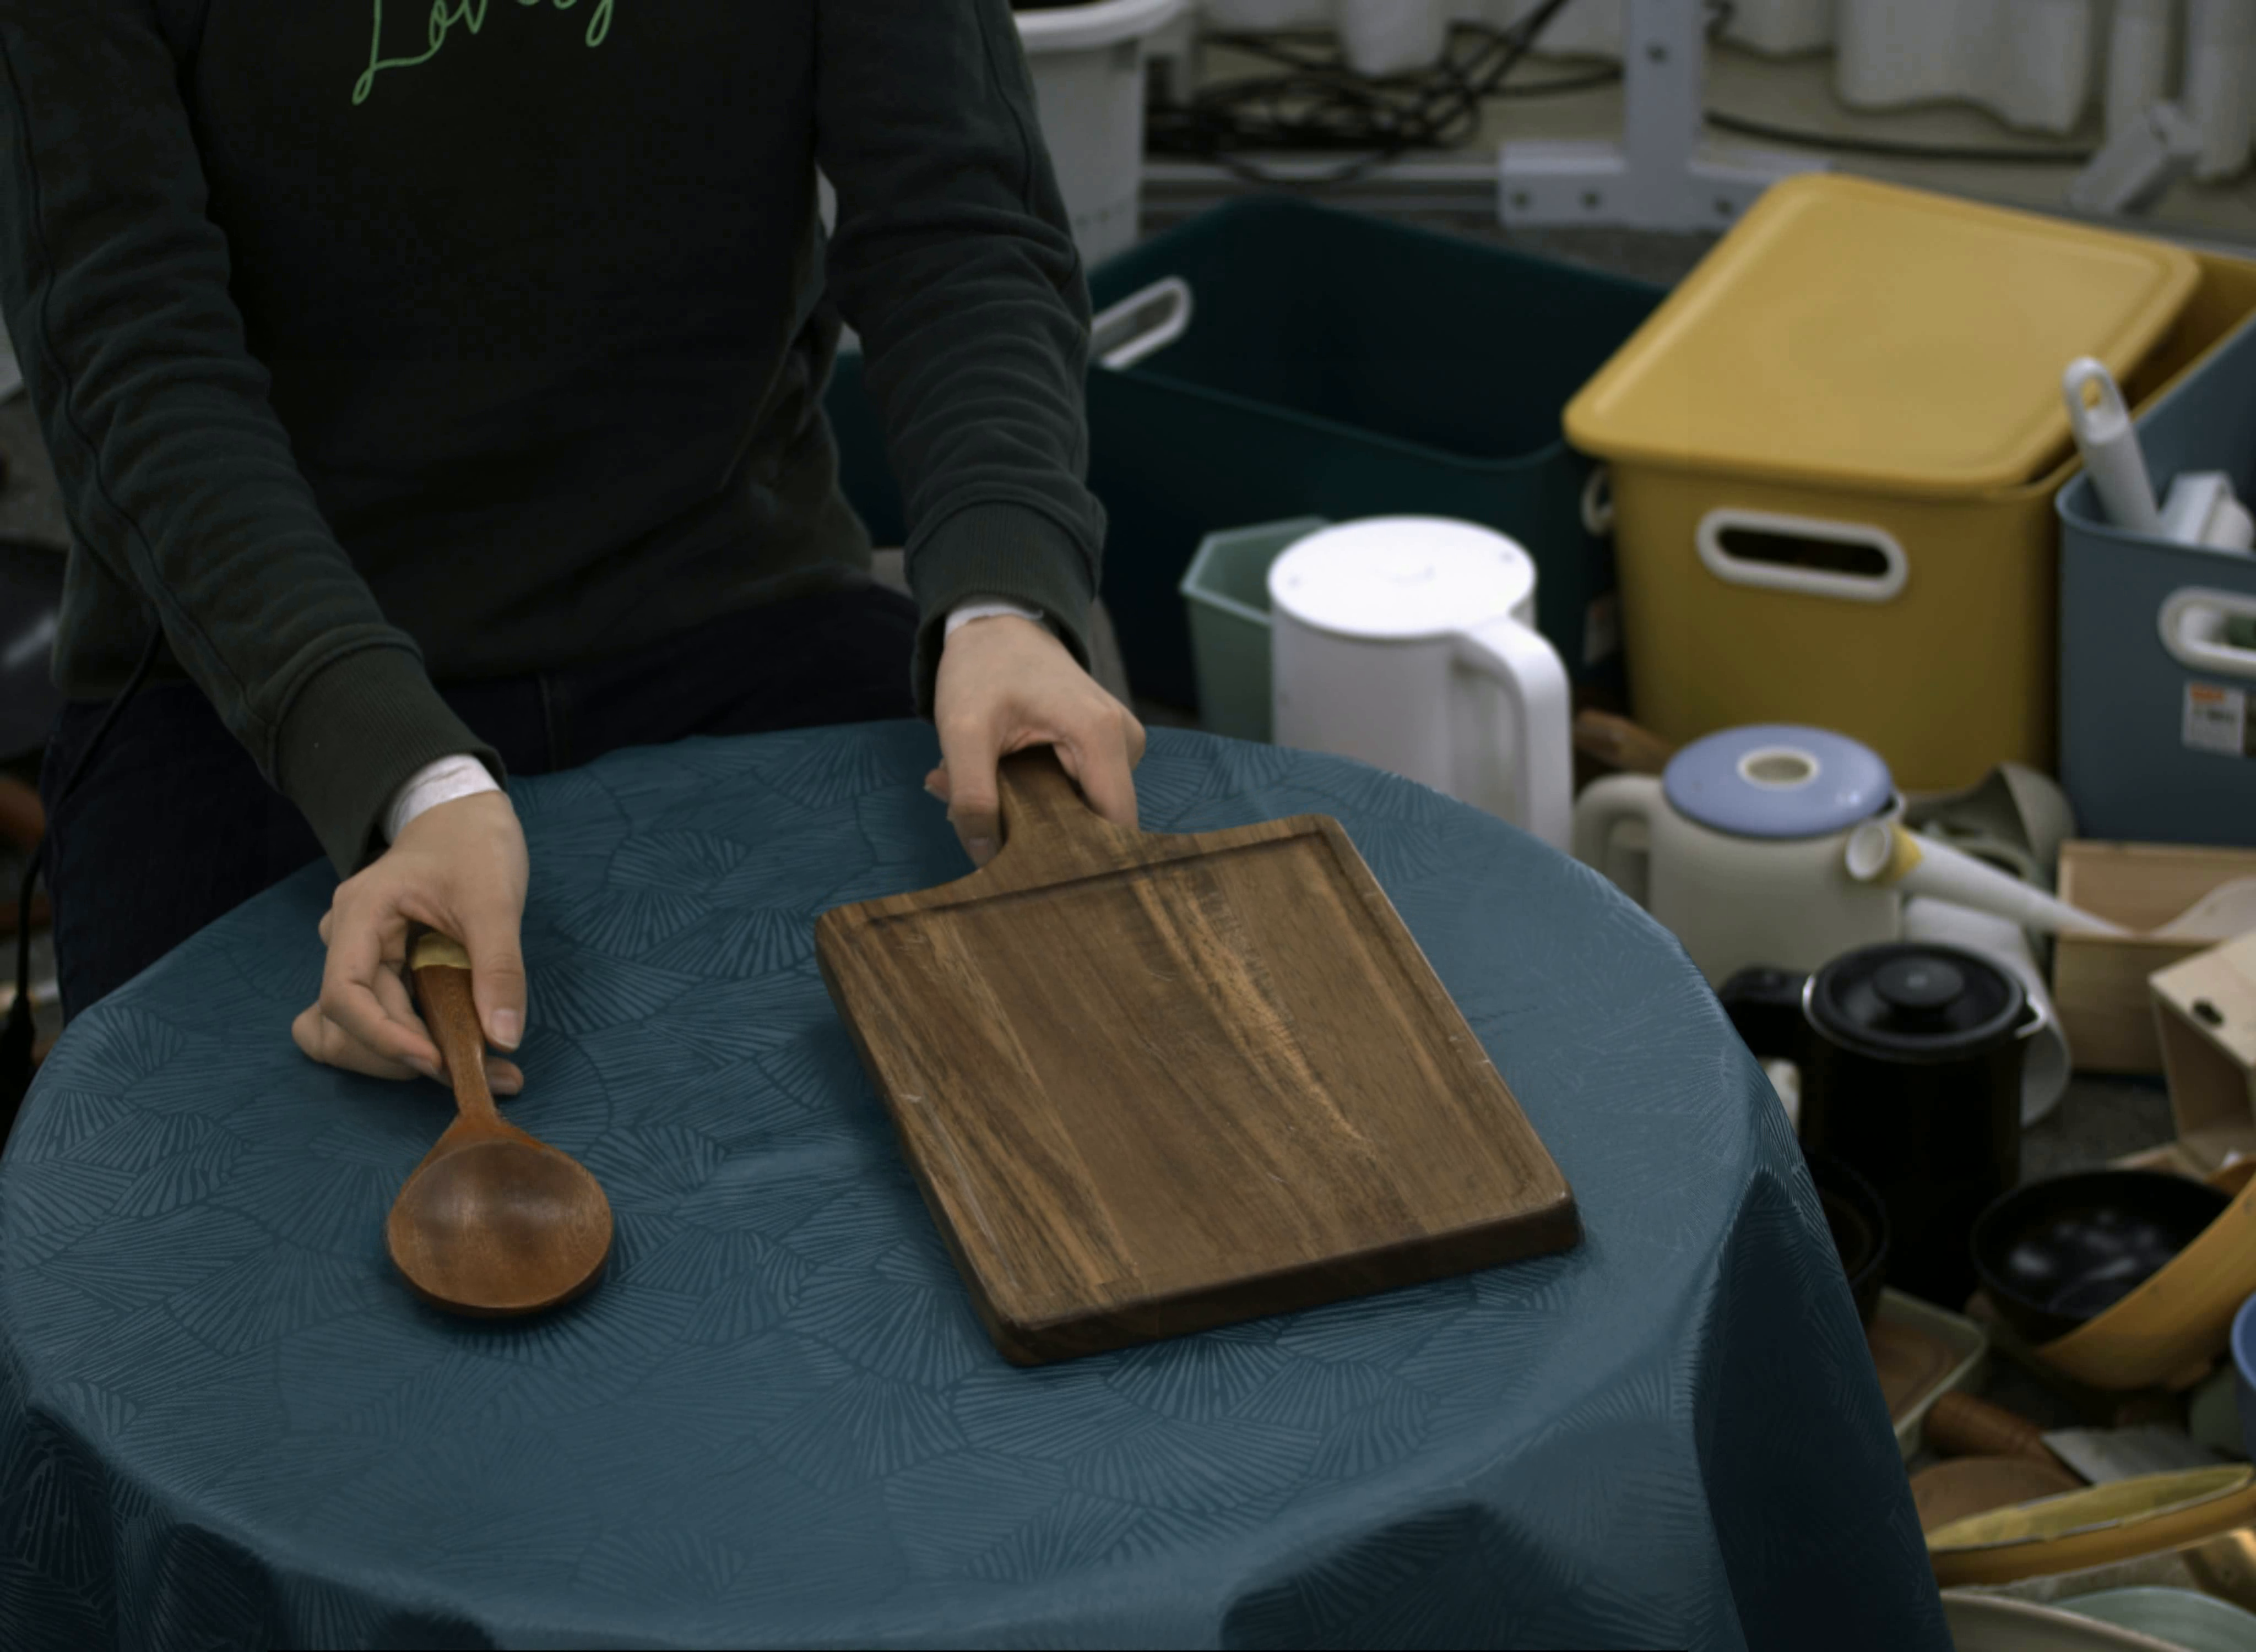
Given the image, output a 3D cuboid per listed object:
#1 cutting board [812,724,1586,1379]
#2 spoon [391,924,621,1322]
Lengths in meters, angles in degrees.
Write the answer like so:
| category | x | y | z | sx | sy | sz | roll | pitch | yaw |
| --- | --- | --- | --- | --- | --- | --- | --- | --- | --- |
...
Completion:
| category | x | y | z | sx | sy | sz | roll | pitch | yaw |
| --- | --- | --- | --- | --- | --- | --- | --- | --- | --- |
| cutting board | 0.004 | 0.059 | 1.928 | 0.201 | 0.023 | 0.356 | -12 | 33 | -13 |
| spoon | -0.217 | 0.100 | 1.884 | 0.075 | 0.017 | 0.219 | -9 | 36 | -9 |
